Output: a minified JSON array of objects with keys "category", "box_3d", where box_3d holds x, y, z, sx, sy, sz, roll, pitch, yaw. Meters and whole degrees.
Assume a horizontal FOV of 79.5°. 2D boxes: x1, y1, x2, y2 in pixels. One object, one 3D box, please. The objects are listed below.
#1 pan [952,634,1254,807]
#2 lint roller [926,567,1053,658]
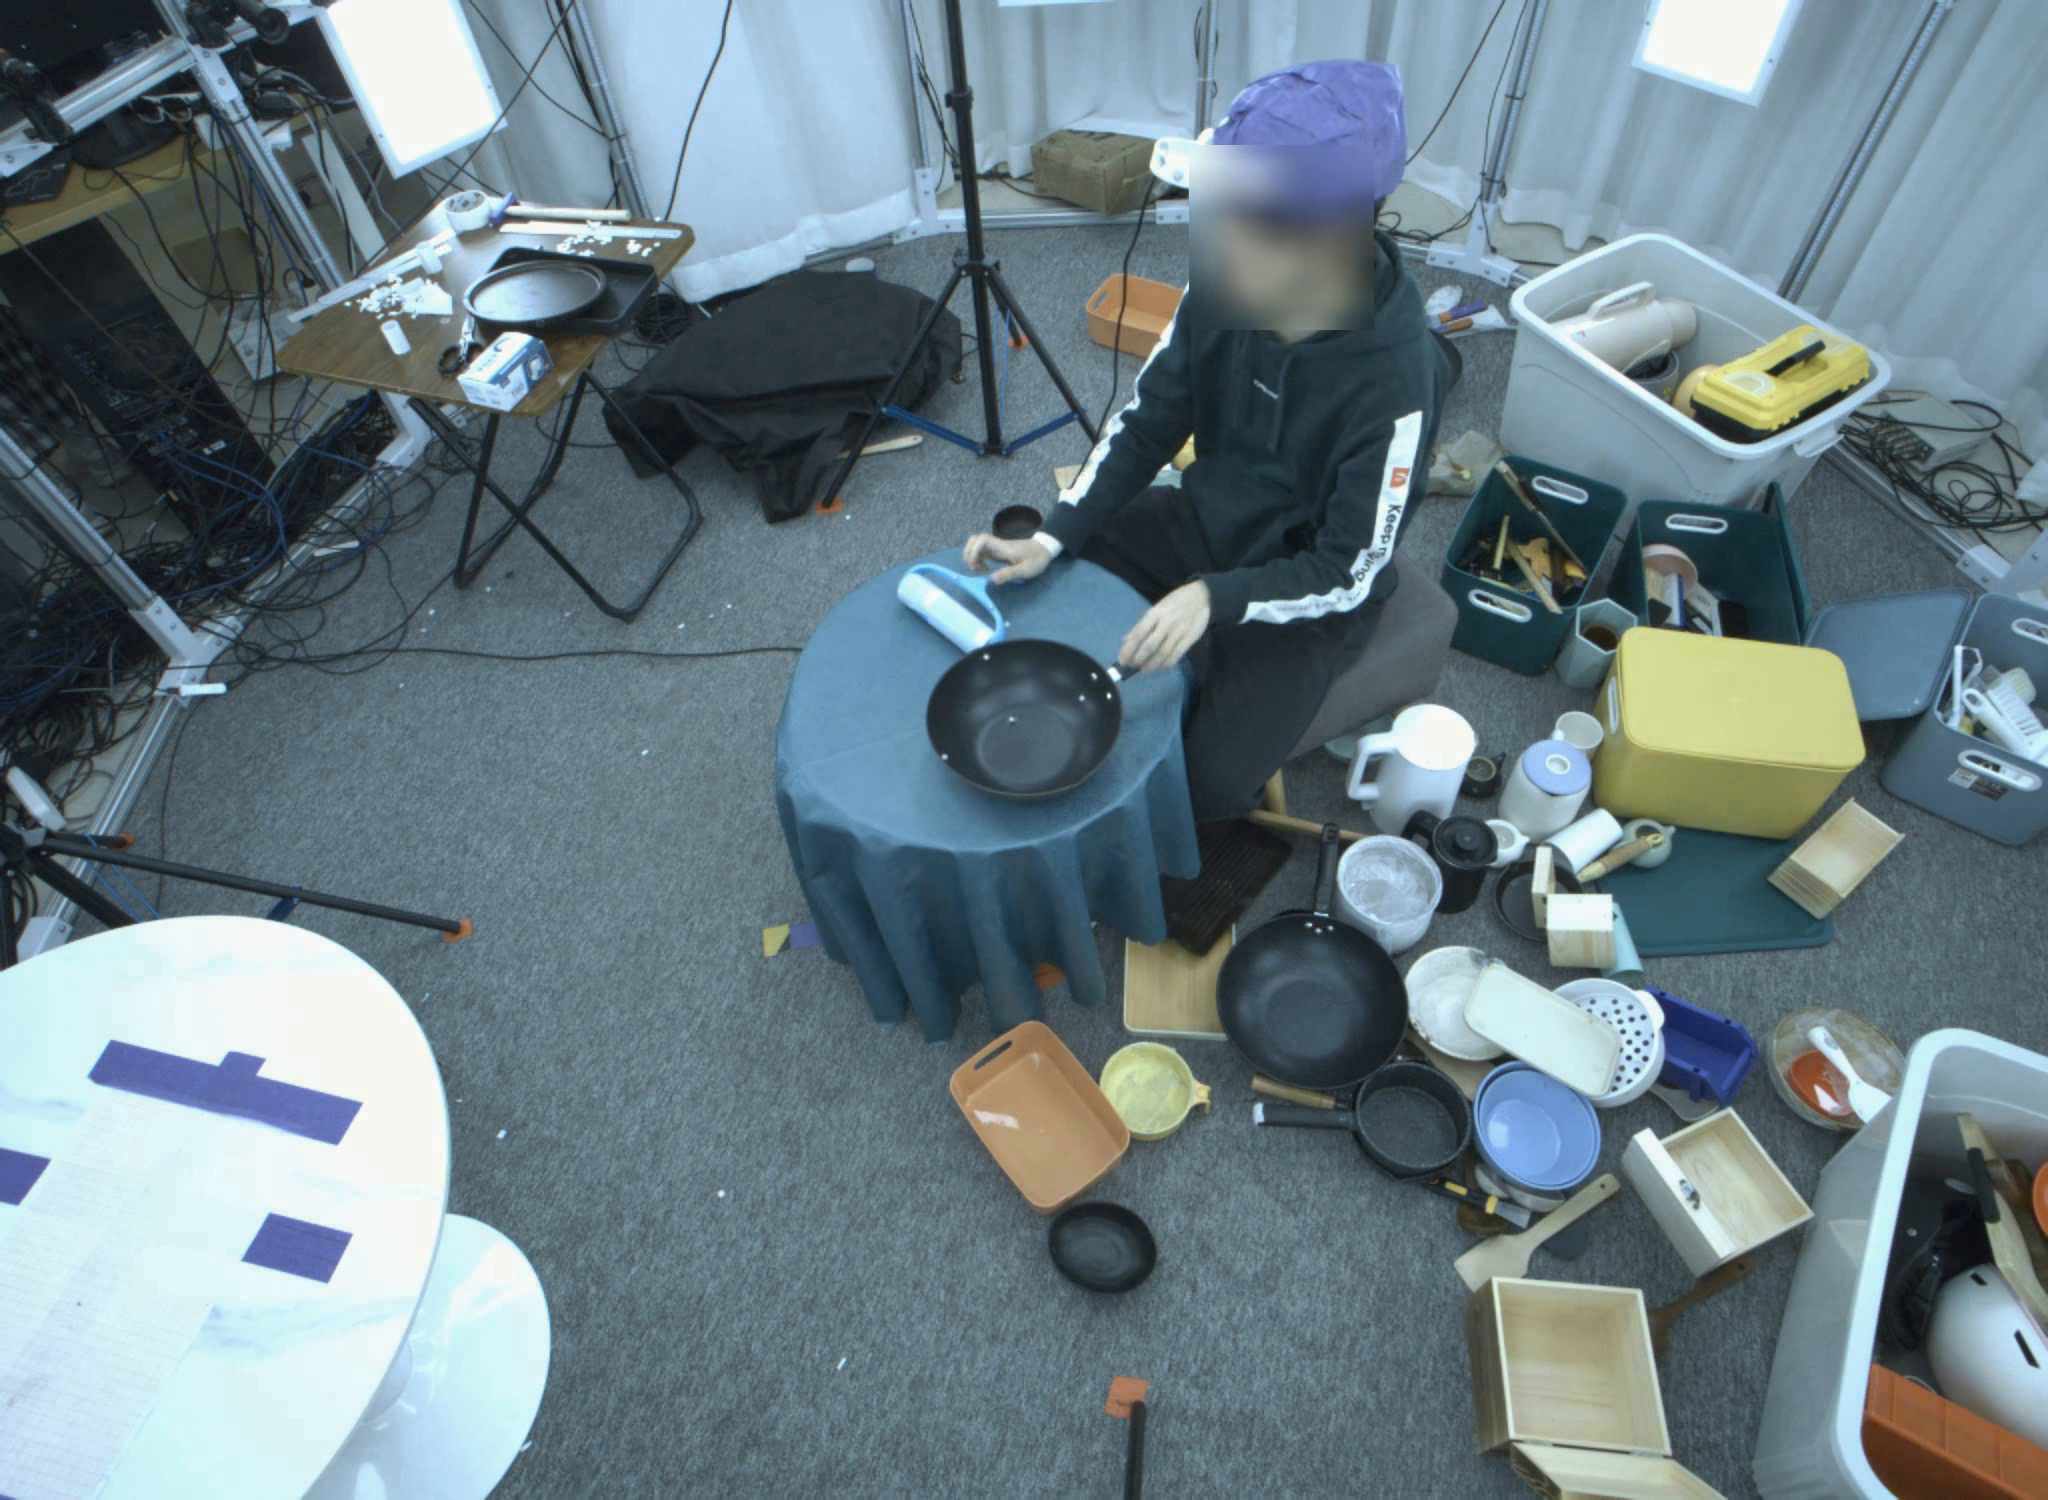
[{"category":"pan","box_3d":[0.122,-0.060,1.771,0.467,0.088,0.283,-24,58,-15]},{"category":"lint roller","box_3d":[-0.028,-0.236,1.917,0.224,0.069,0.181,37,64,27]}]
